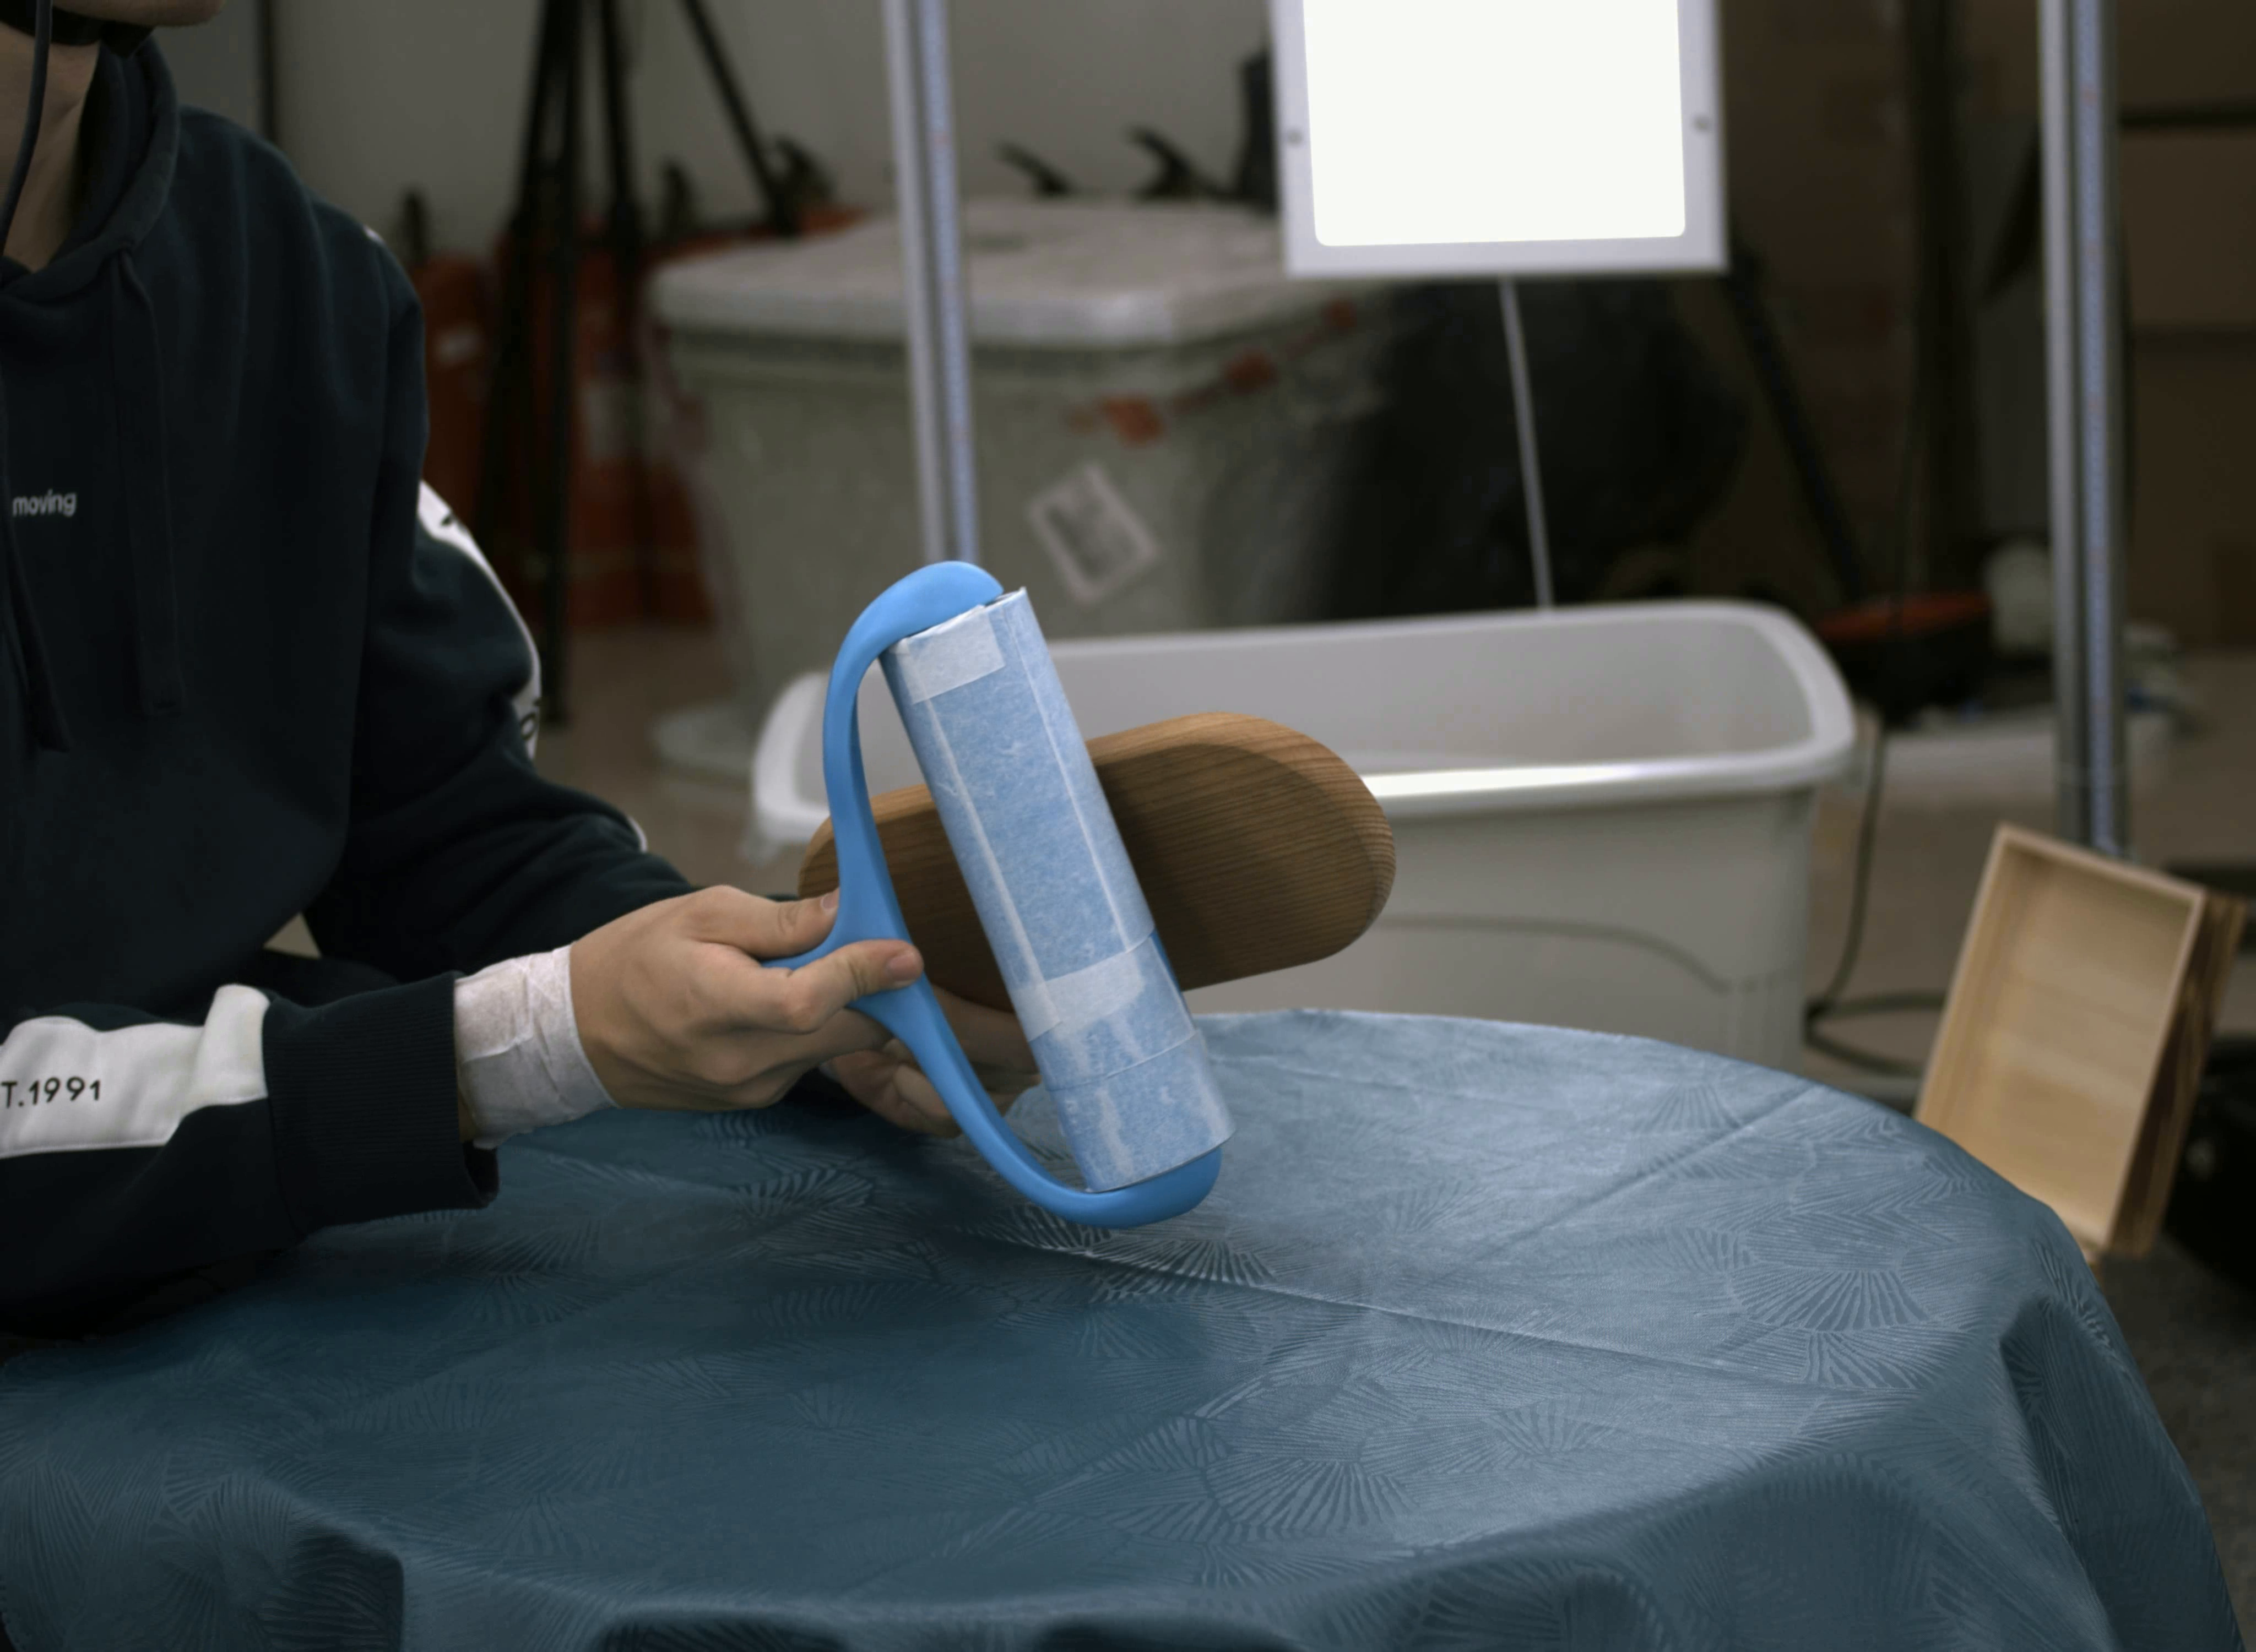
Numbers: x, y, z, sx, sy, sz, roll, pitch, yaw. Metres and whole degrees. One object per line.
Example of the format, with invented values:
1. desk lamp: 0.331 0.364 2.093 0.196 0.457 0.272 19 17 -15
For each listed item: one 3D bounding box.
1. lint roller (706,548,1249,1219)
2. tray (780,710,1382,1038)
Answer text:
1. lint roller: -0.072 0.039 1.816 0.183 0.229 0.067 -23 5 25
2. tray: -0.019 0.019 1.849 0.236 0.101 0.020 -14 29 34
